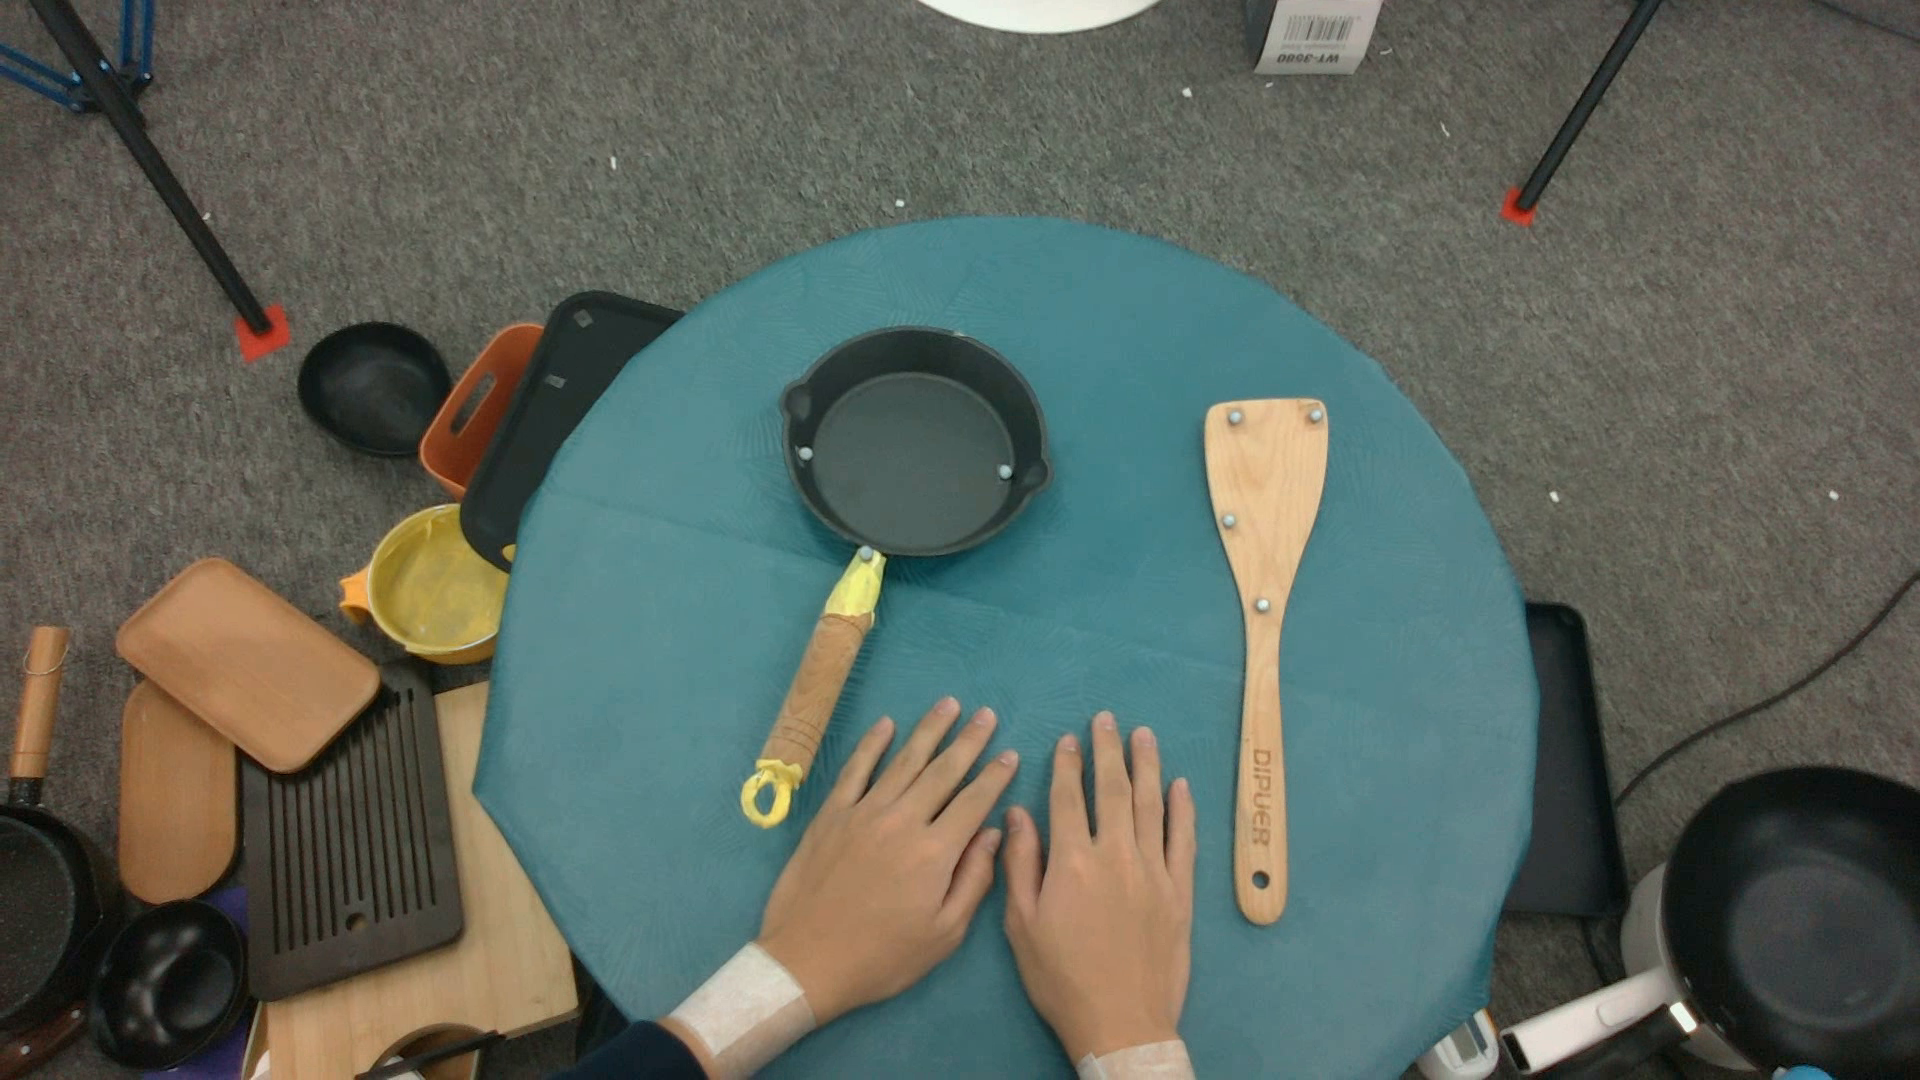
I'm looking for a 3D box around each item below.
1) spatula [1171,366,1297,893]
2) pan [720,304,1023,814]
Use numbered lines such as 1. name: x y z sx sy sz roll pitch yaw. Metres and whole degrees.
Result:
1. spatula: 0.161 0.039 0.801 0.080 0.016 0.329 5 65 -2
2. pan: -0.070 0.003 0.777 0.169 0.049 0.325 18 63 3
